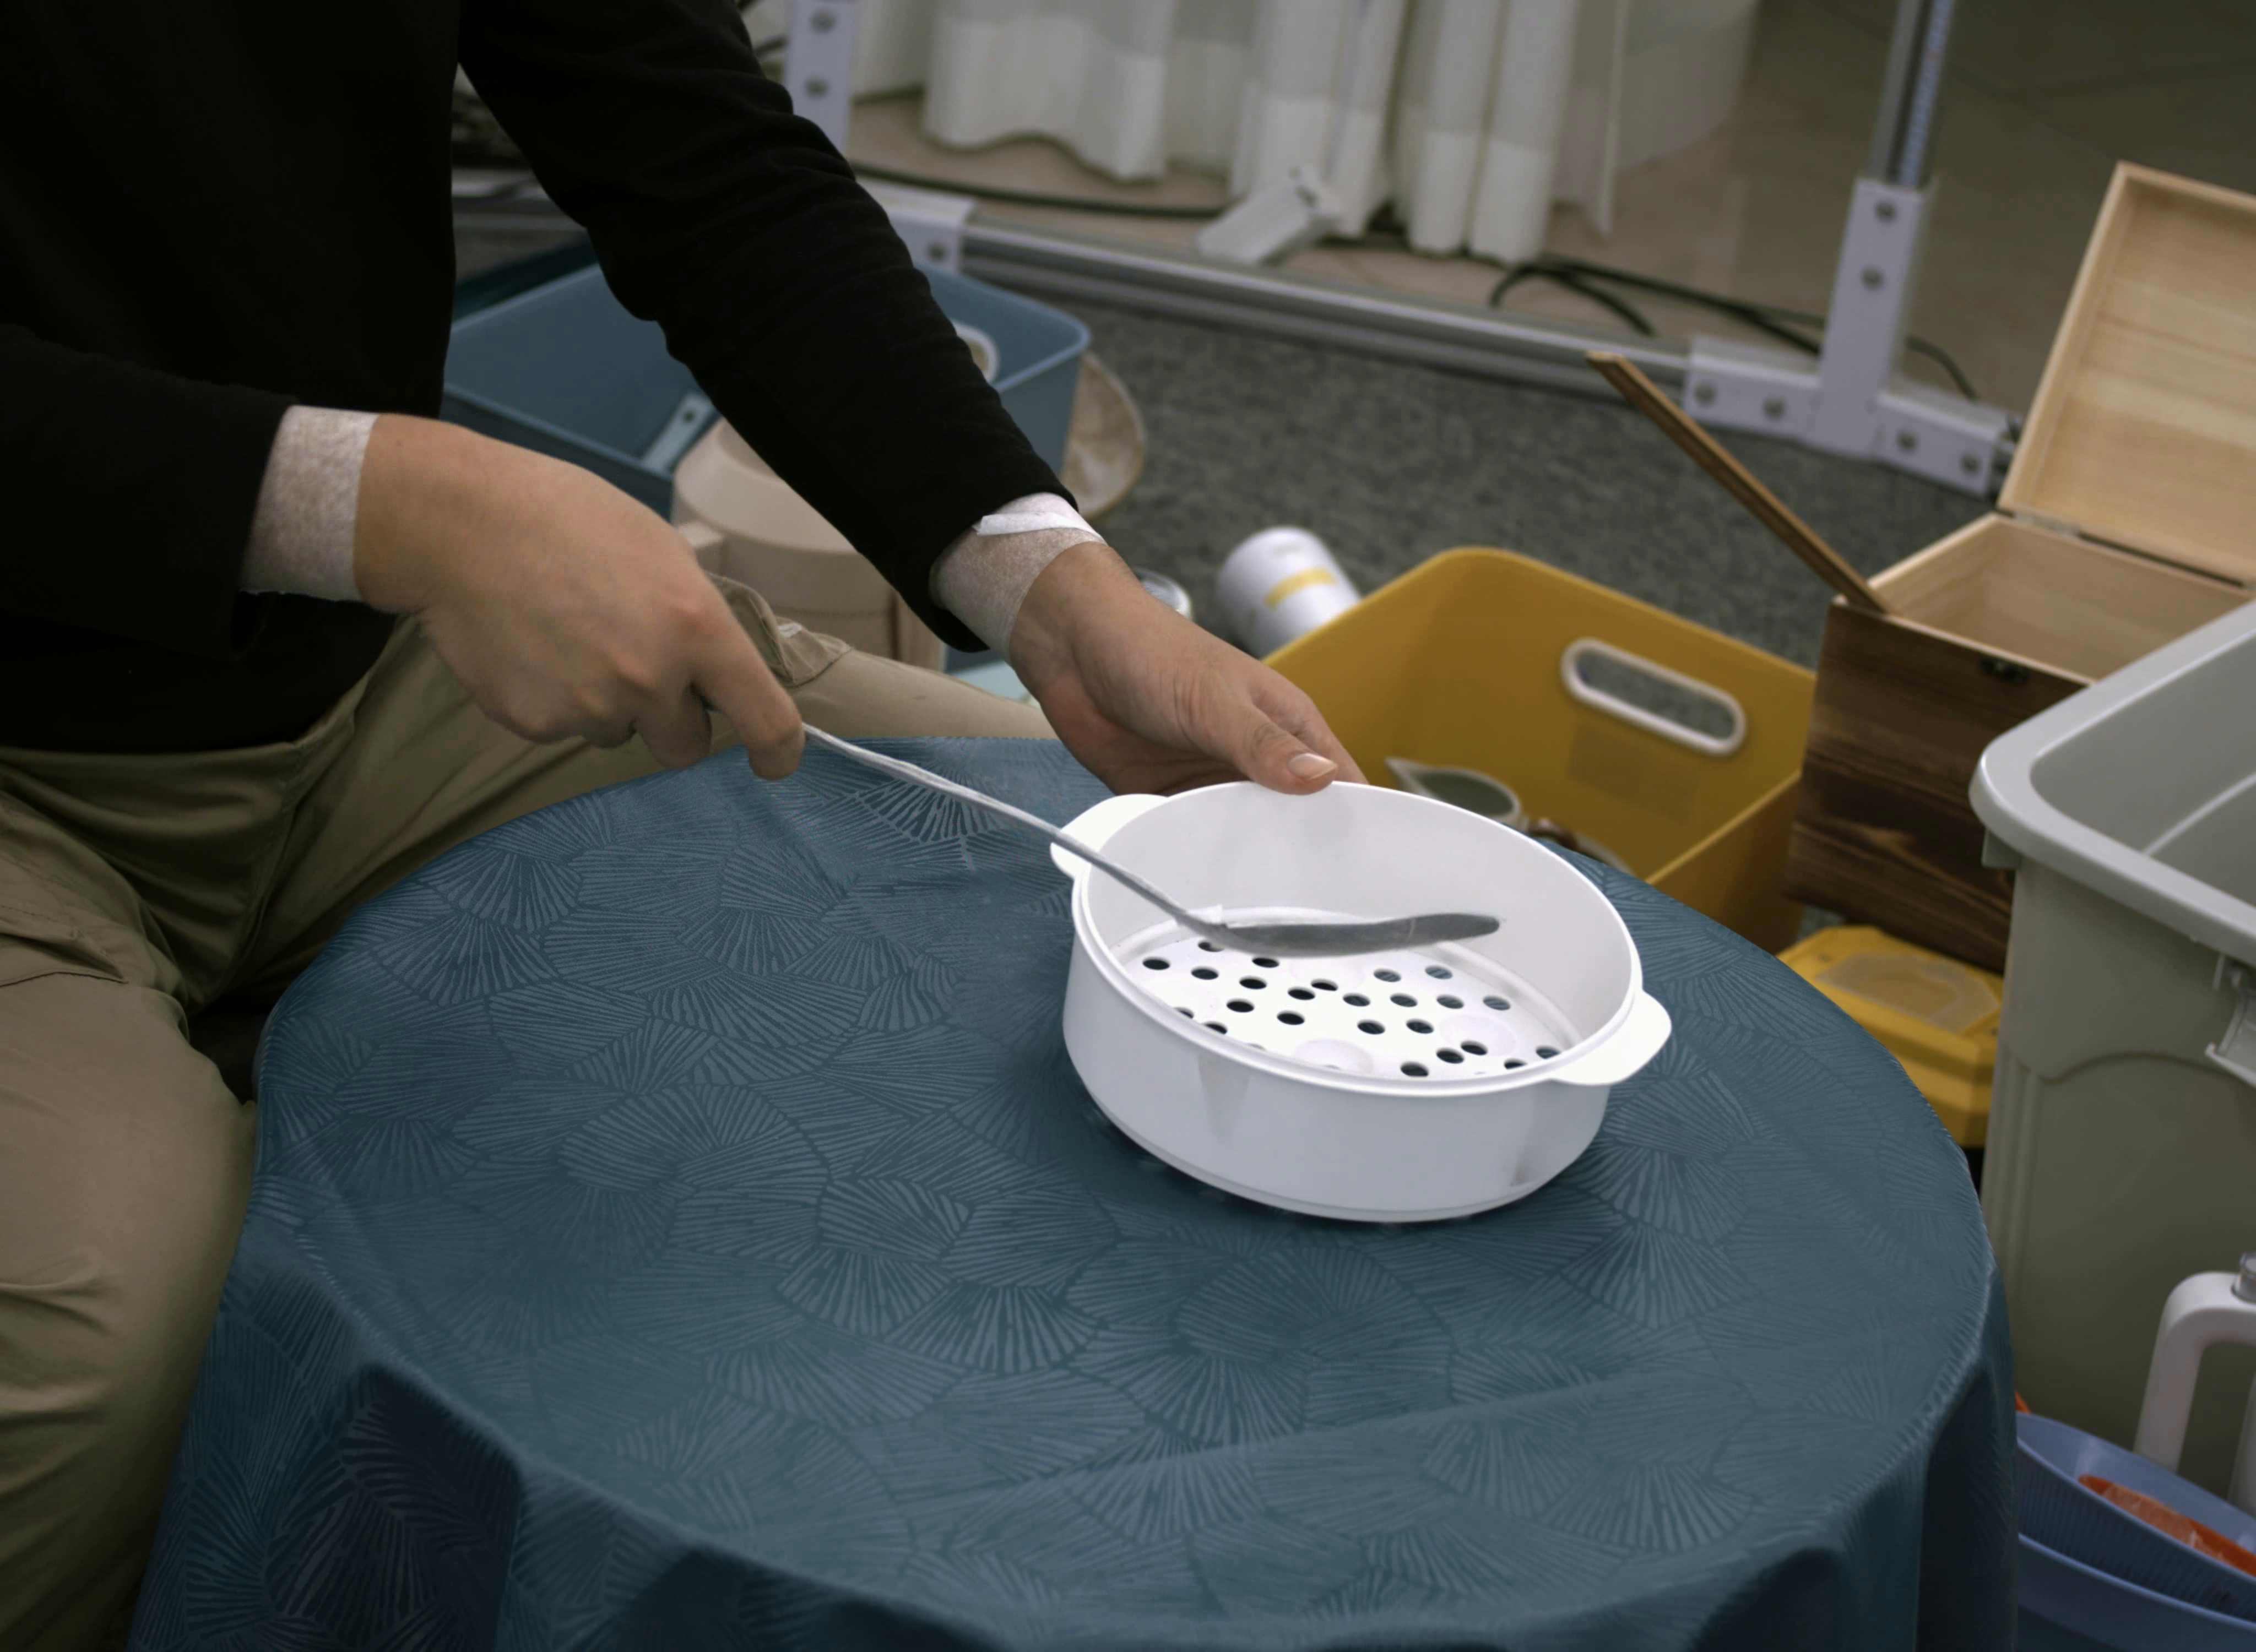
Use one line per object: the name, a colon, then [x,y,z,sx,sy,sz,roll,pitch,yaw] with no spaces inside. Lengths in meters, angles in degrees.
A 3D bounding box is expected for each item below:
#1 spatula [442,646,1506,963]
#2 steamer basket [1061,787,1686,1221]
spatula: [-0.051,-0.012,1.774,0.363,0.045,0.099,21,-7,-5]
steamer basket: [0.080,0.062,1.856,0.231,0.069,0.201,22,31,24]
